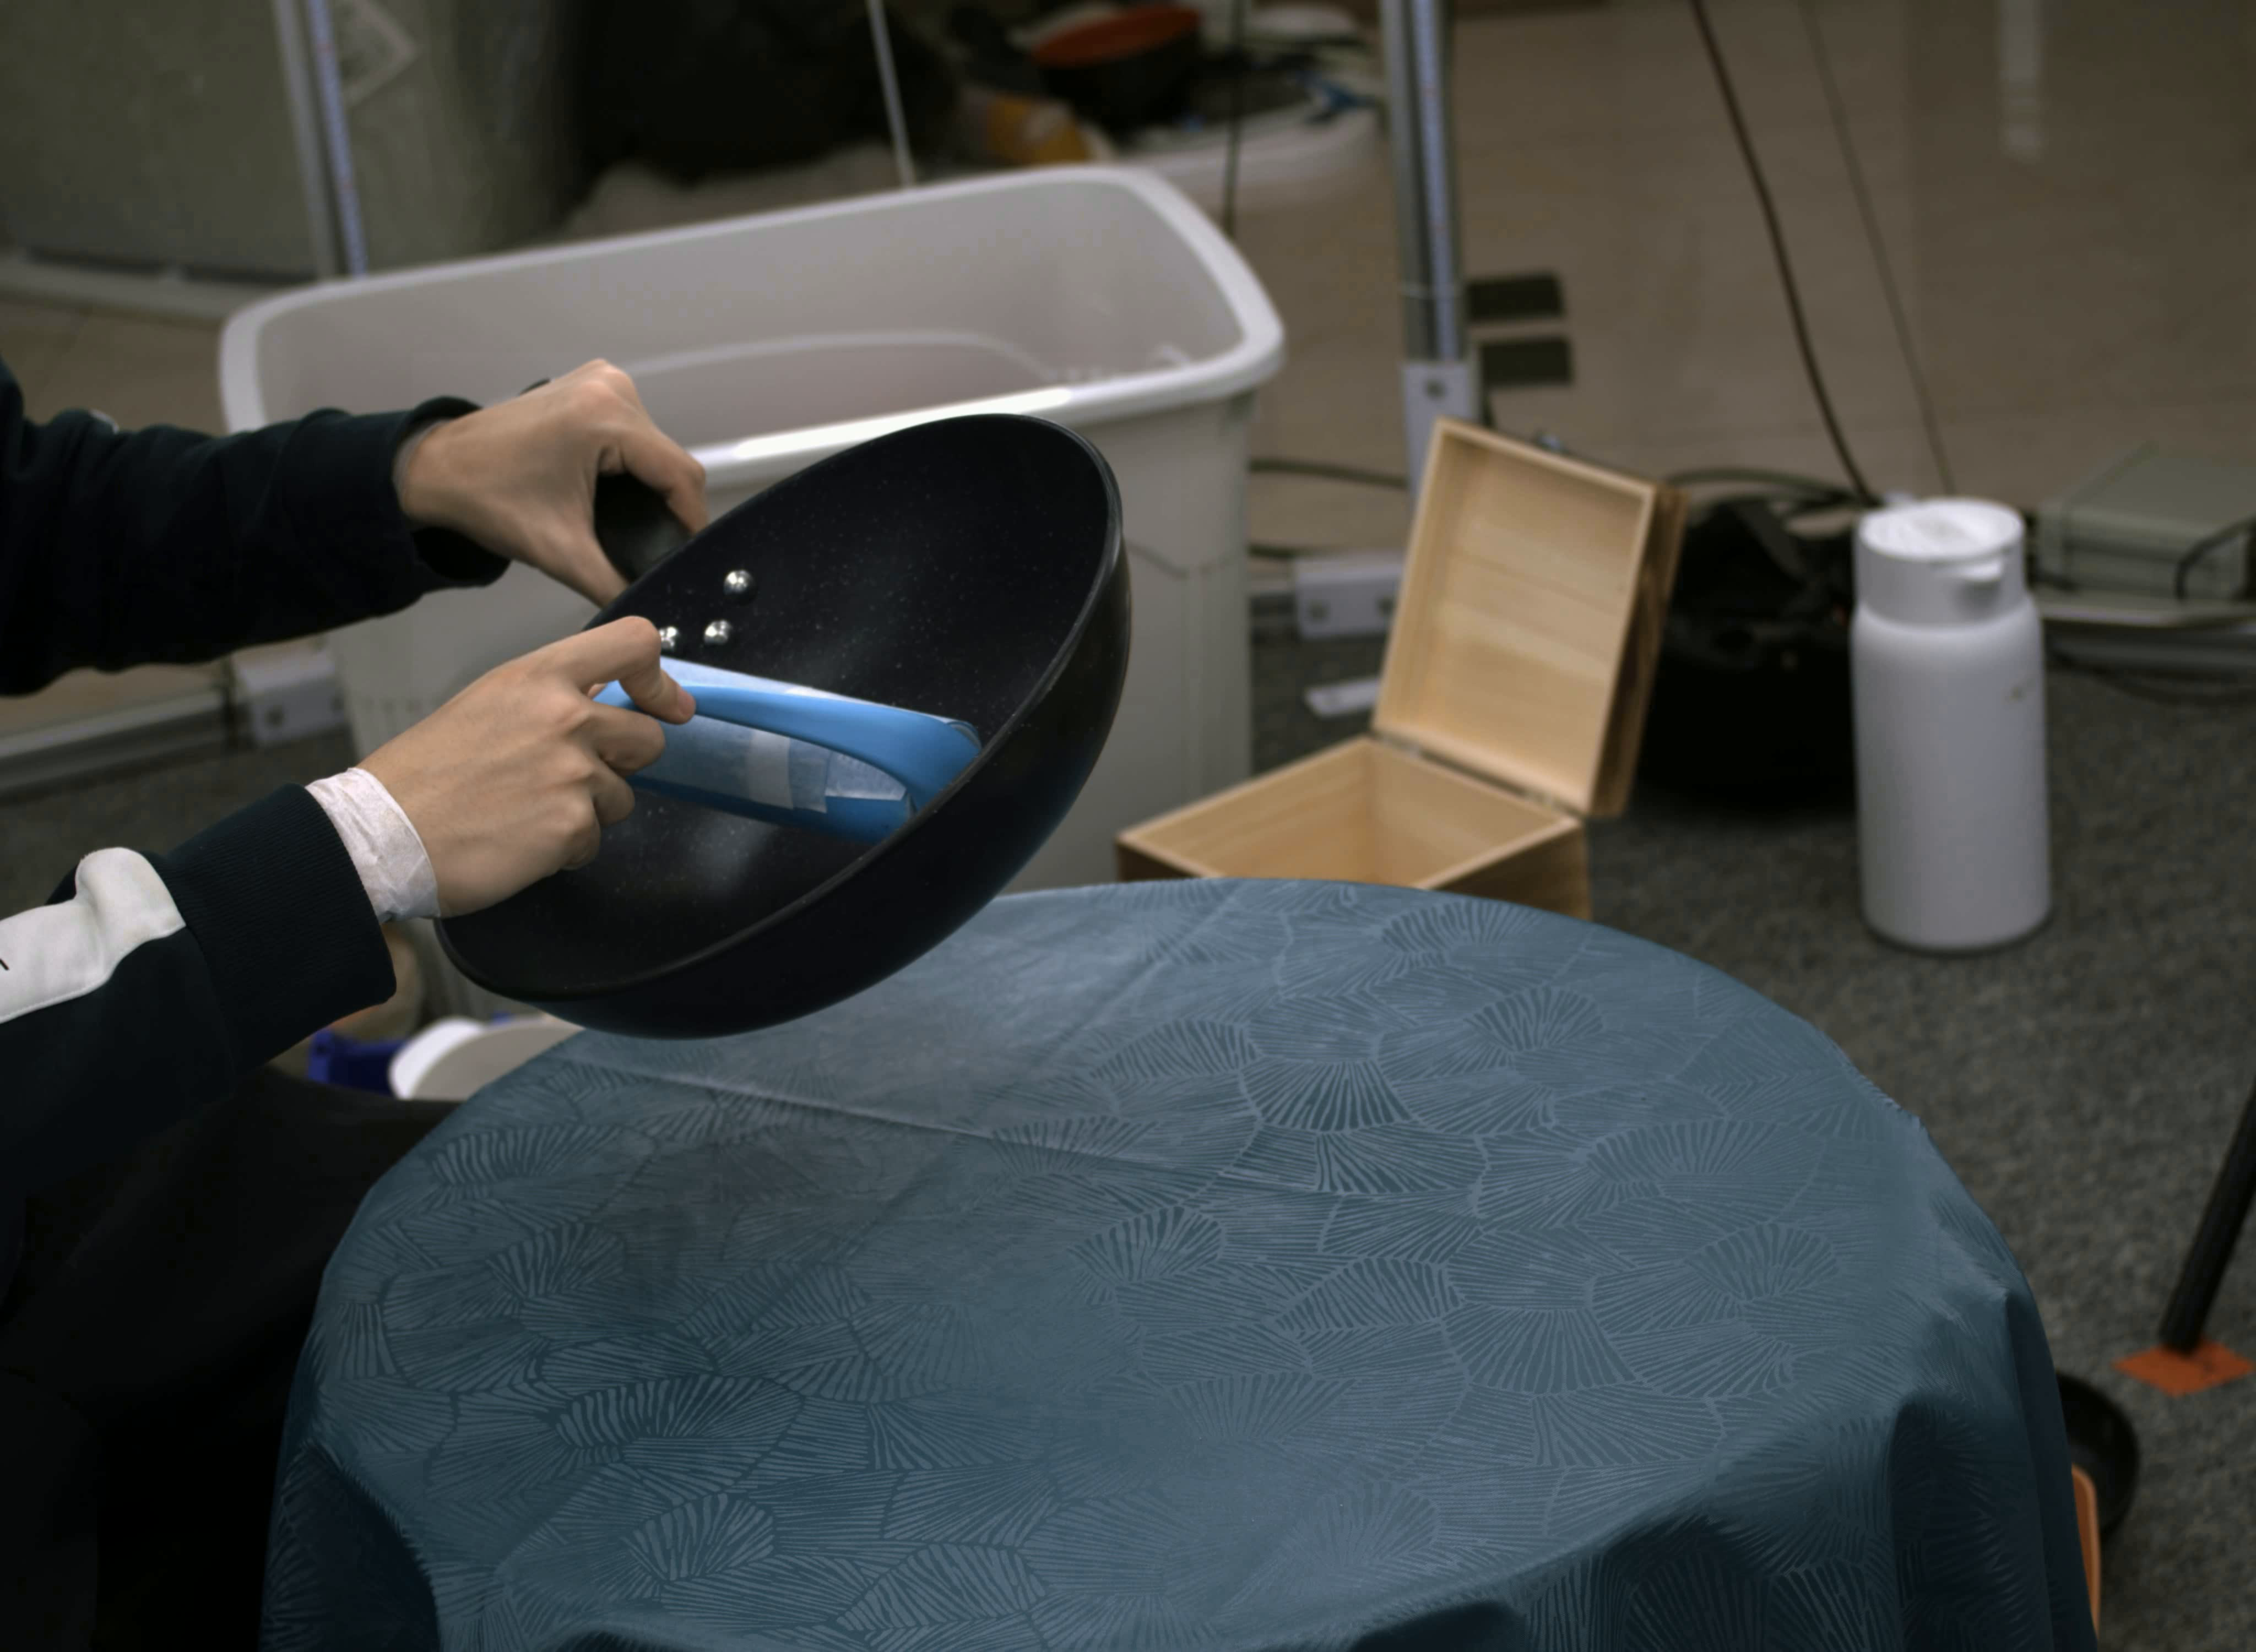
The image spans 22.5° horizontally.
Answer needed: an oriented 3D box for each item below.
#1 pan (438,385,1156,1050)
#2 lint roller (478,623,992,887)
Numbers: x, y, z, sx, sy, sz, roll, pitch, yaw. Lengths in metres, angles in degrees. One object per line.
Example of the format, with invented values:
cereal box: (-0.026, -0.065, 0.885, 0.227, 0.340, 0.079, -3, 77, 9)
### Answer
pan: (-0.143, -0.056, 2.194, 0.310, 0.113, 0.471, -38, 30, -3)
lint roller: (-0.177, -0.024, 2.100, 0.227, 0.068, 0.179, 14, 16, 26)
